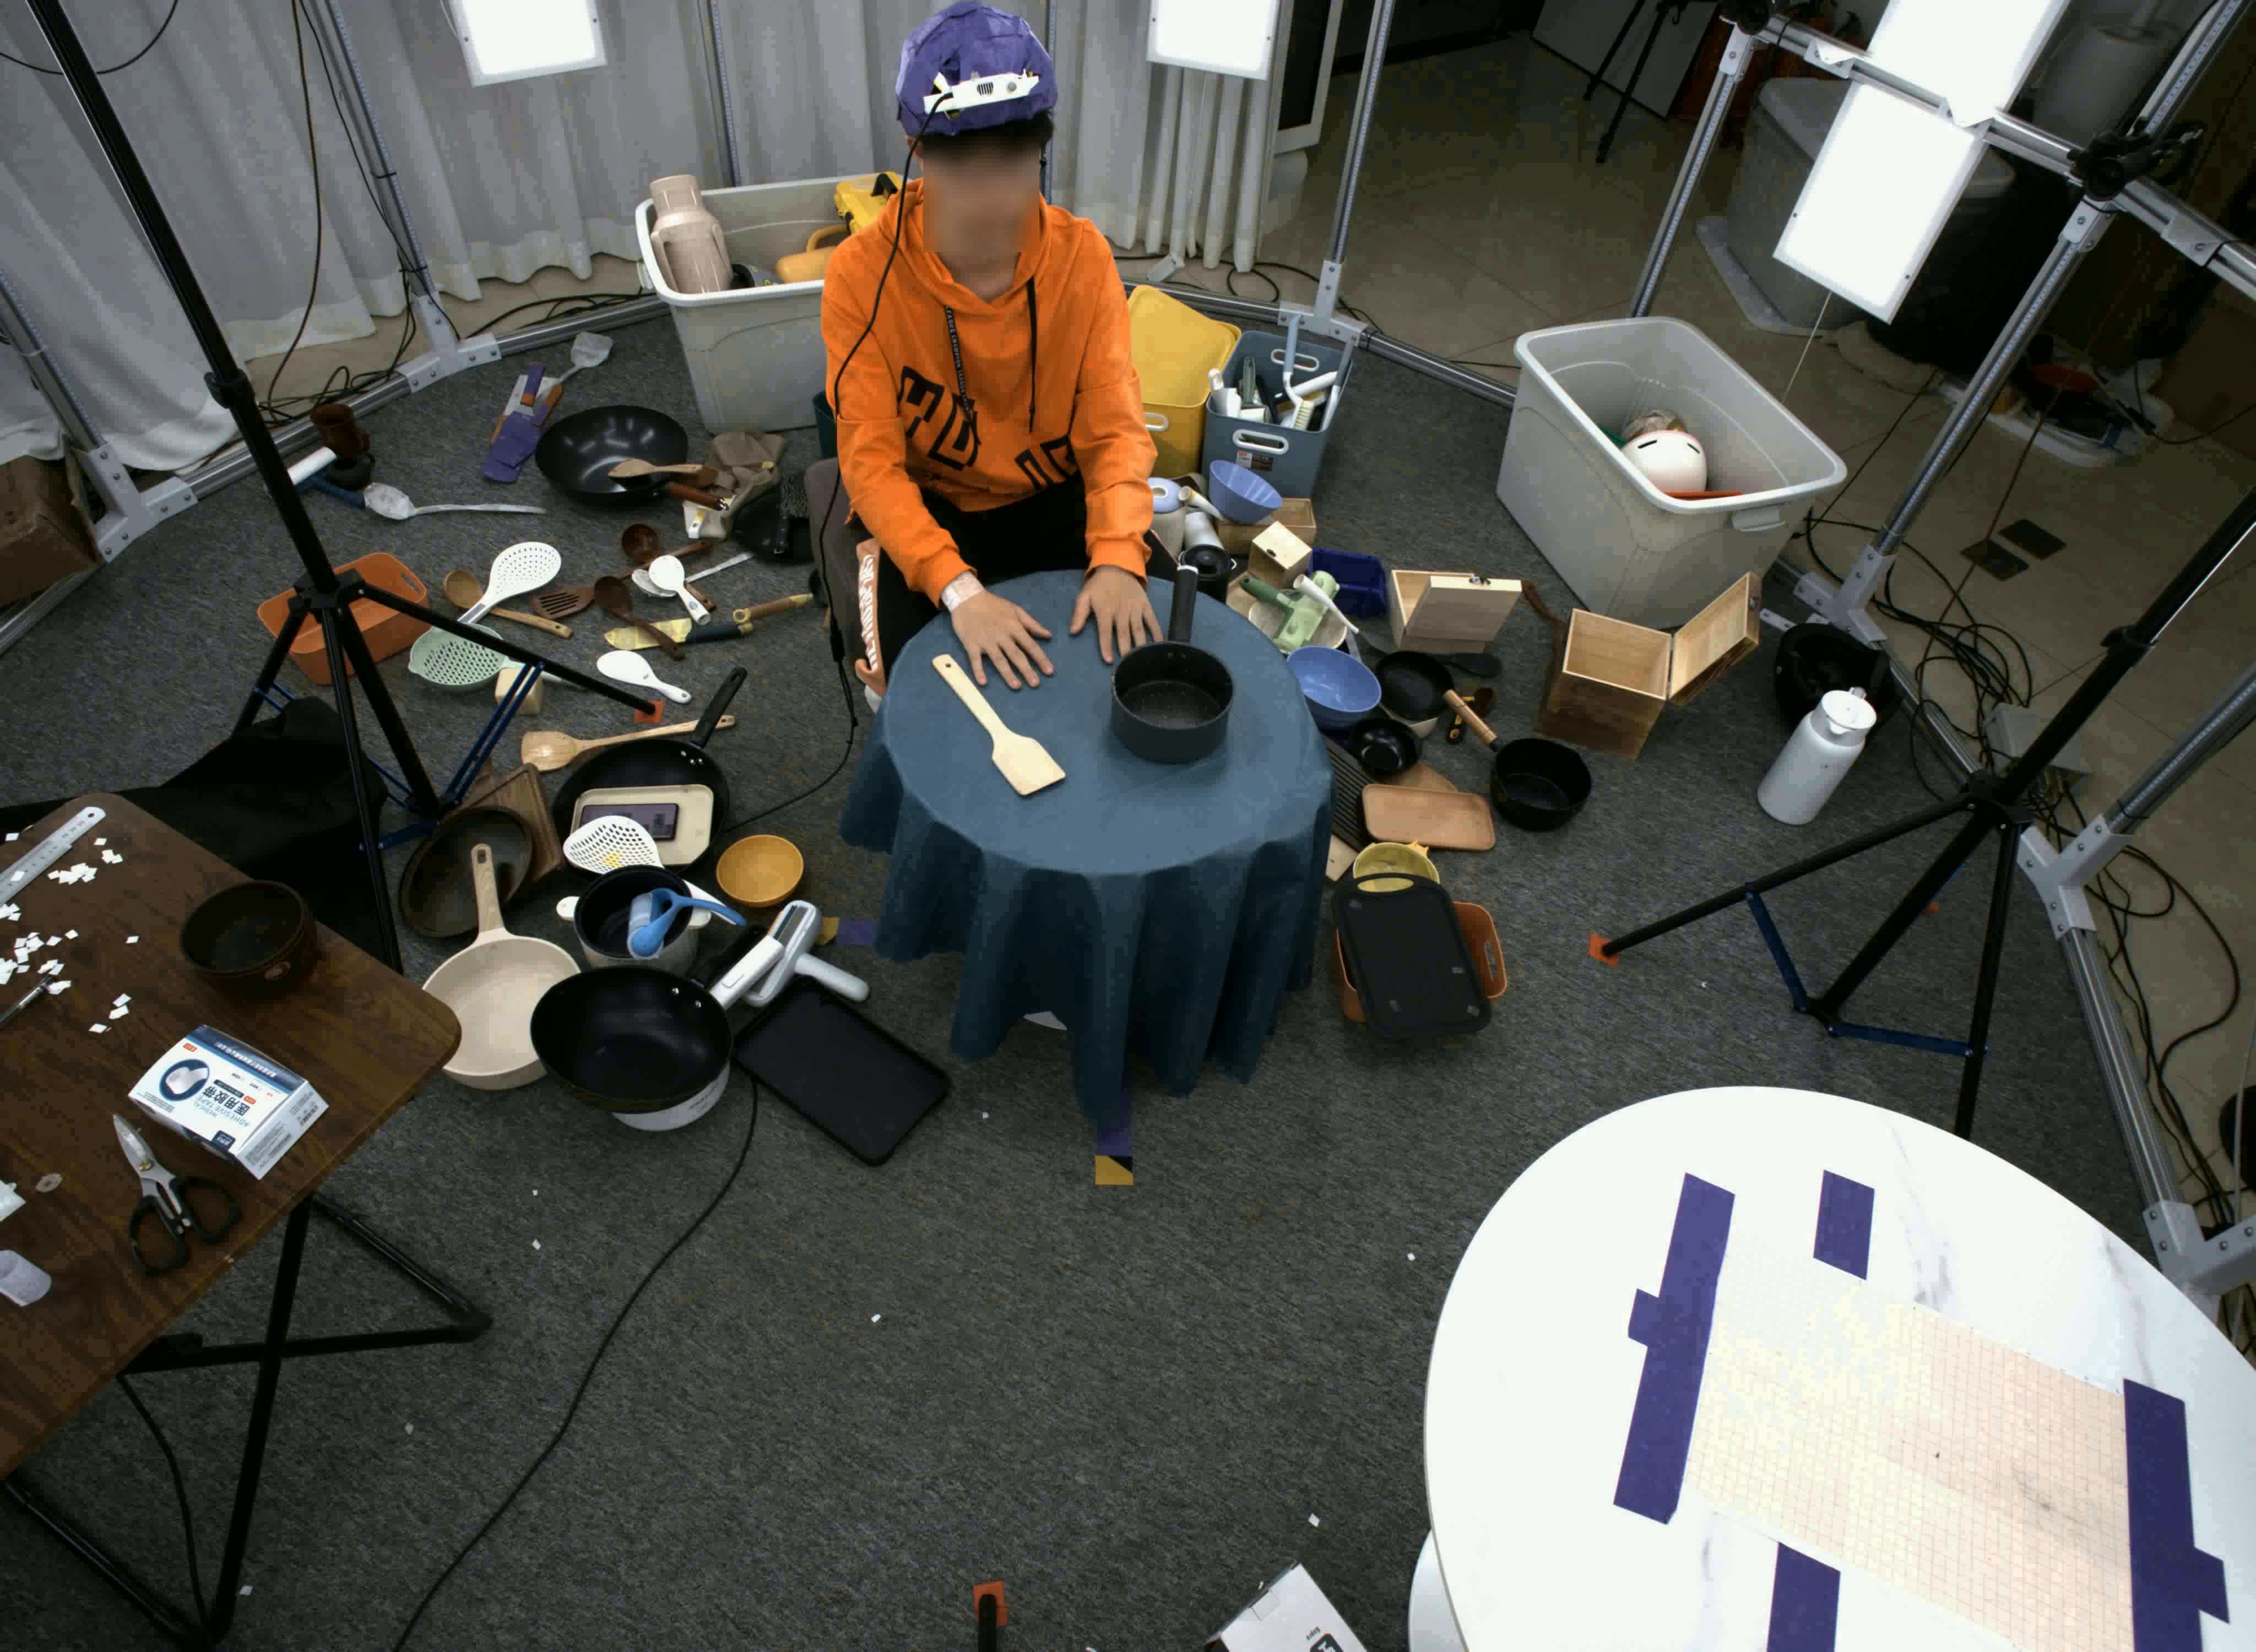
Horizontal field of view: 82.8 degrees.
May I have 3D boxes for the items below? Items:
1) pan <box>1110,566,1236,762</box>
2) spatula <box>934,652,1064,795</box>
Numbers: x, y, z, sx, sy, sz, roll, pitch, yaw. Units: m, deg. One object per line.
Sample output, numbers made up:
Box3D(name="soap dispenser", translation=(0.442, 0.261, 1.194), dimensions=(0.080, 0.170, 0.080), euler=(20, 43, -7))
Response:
Box3D(name="pan", translation=(0.072, -0.233, 1.821), dimensions=(0.172, 0.084, 0.336), euler=(9, 51, 3))
Box3D(name="spatula", translation=(-0.193, -0.149, 1.779), dimensions=(0.072, 0.010, 0.299), euler=(-26, 55, -20))
